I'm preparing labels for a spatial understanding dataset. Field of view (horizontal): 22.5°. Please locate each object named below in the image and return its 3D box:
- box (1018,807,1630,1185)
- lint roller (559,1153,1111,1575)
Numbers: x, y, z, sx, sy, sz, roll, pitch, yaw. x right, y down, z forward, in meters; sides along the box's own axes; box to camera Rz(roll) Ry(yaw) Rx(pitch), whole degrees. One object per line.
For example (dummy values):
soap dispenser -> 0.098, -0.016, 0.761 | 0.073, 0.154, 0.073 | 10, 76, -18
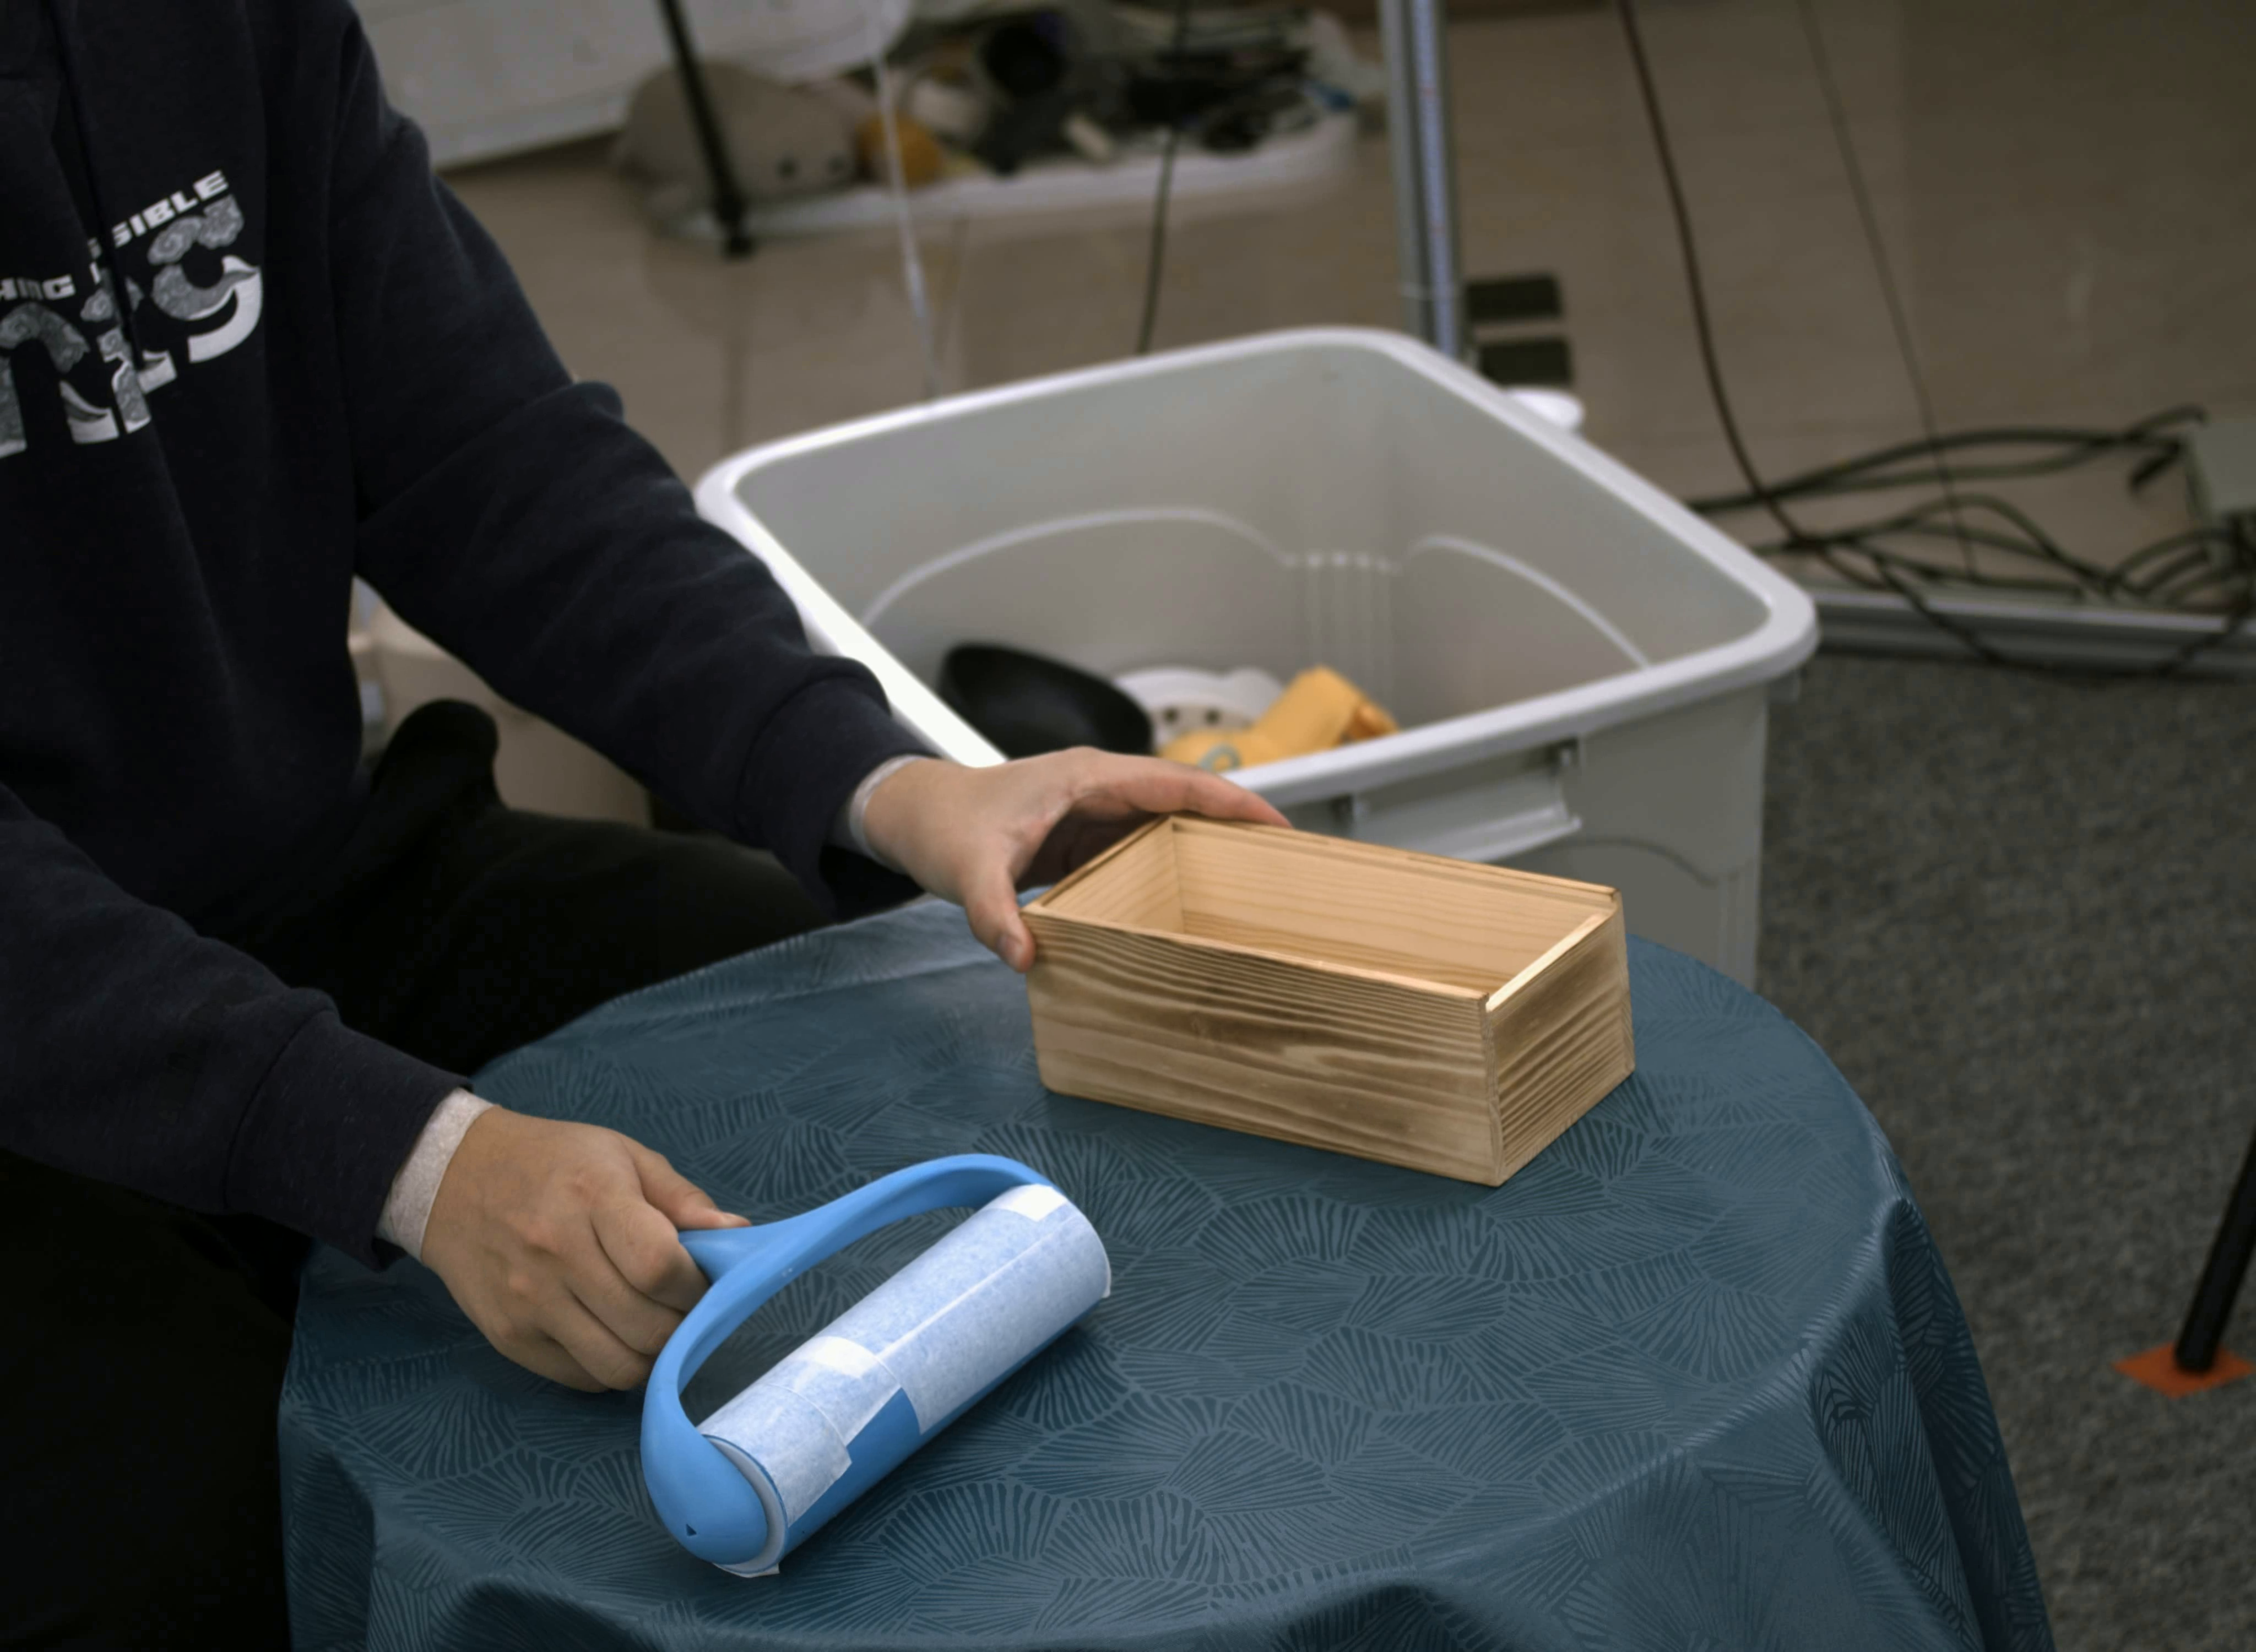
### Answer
box -> 0.076, 0.063, 2.198 | 0.210, 0.081, 0.106 | 10, 29, 32
lint roller -> -0.132, 0.174, 2.015 | 0.179, 0.069, 0.226 | 19, 36, 27
